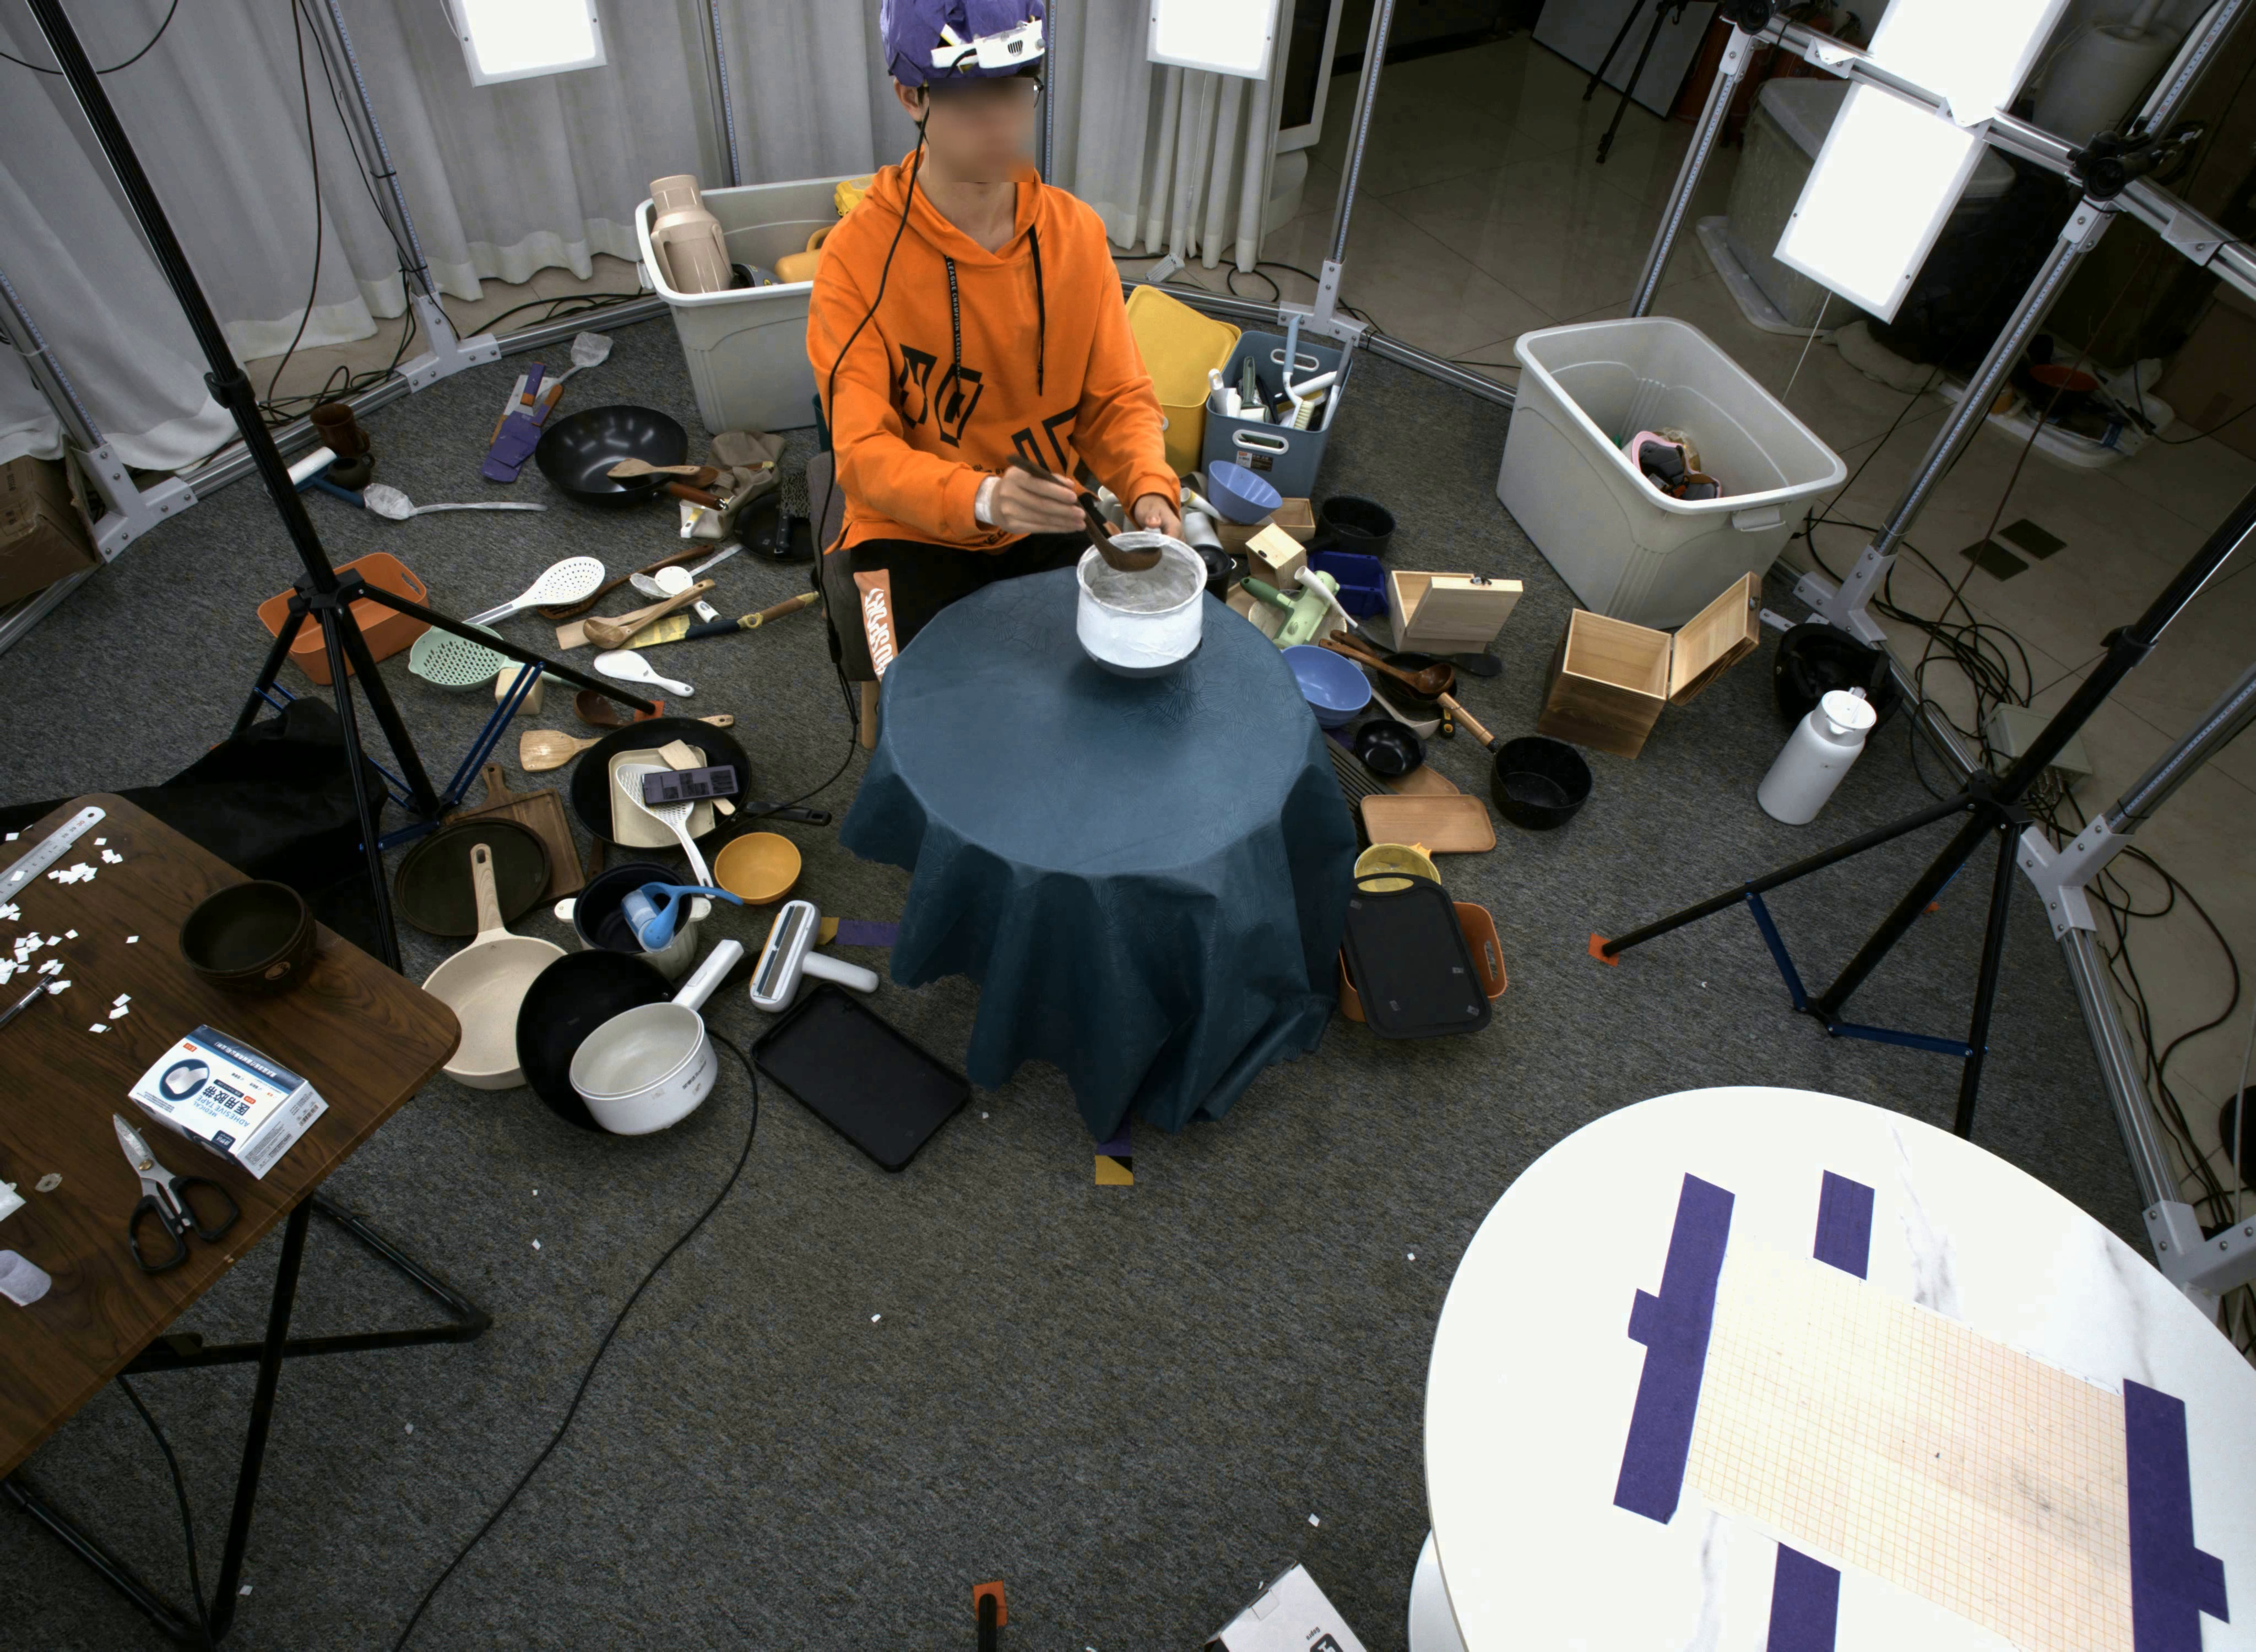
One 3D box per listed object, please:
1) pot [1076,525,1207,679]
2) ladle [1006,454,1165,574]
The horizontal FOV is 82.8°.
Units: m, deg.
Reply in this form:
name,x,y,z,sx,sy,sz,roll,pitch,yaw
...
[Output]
name,x,y,z,sx,sy,sz,roll,pitch,yaw
pot,0.020,-0.324,1.807,0.179,0.133,0.239,7,48,4
ladle,-0.051,-0.416,1.681,0.076,0.269,0.072,3,63,45
